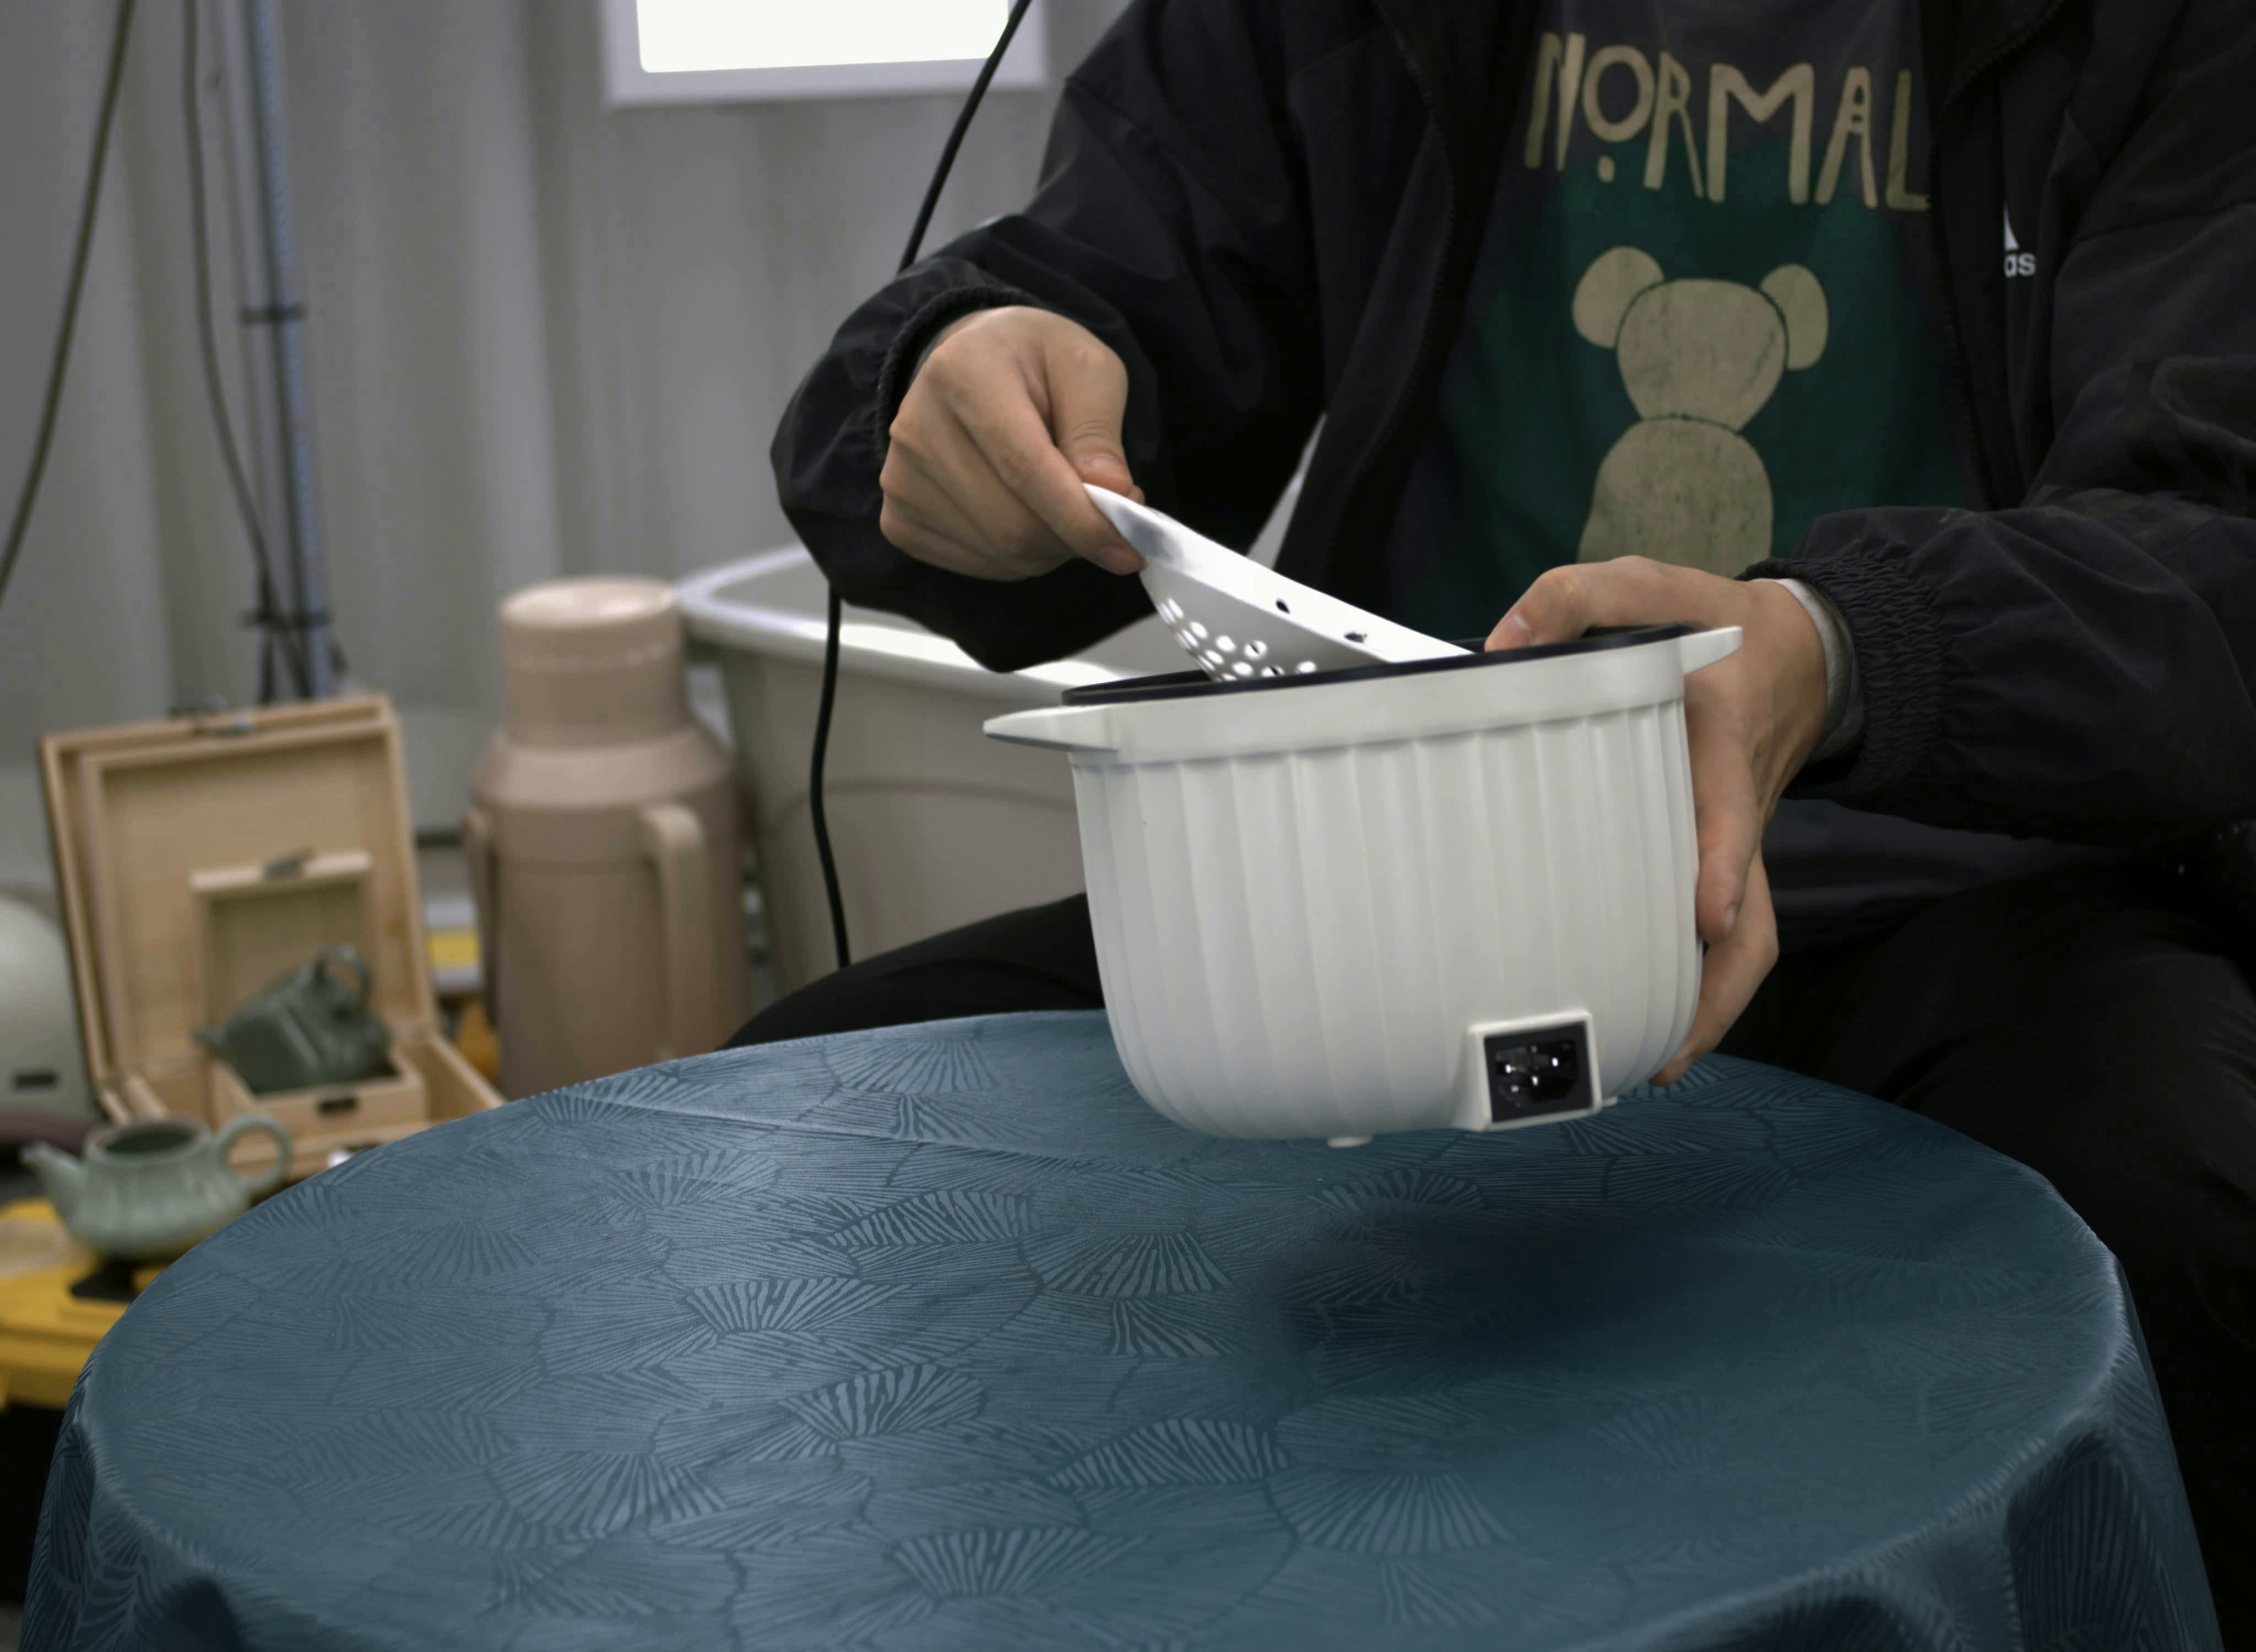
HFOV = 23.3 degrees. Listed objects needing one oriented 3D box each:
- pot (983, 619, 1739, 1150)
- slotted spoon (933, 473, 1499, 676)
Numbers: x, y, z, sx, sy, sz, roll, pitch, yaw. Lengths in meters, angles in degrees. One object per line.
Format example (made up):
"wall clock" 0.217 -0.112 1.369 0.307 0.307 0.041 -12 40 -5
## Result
"pot" 0.073 0.016 1.599 0.239 0.143 0.191 -6 6 -21
"slotted spoon" 0.021 -0.078 1.704 0.135 0.050 0.351 15 11 -27
